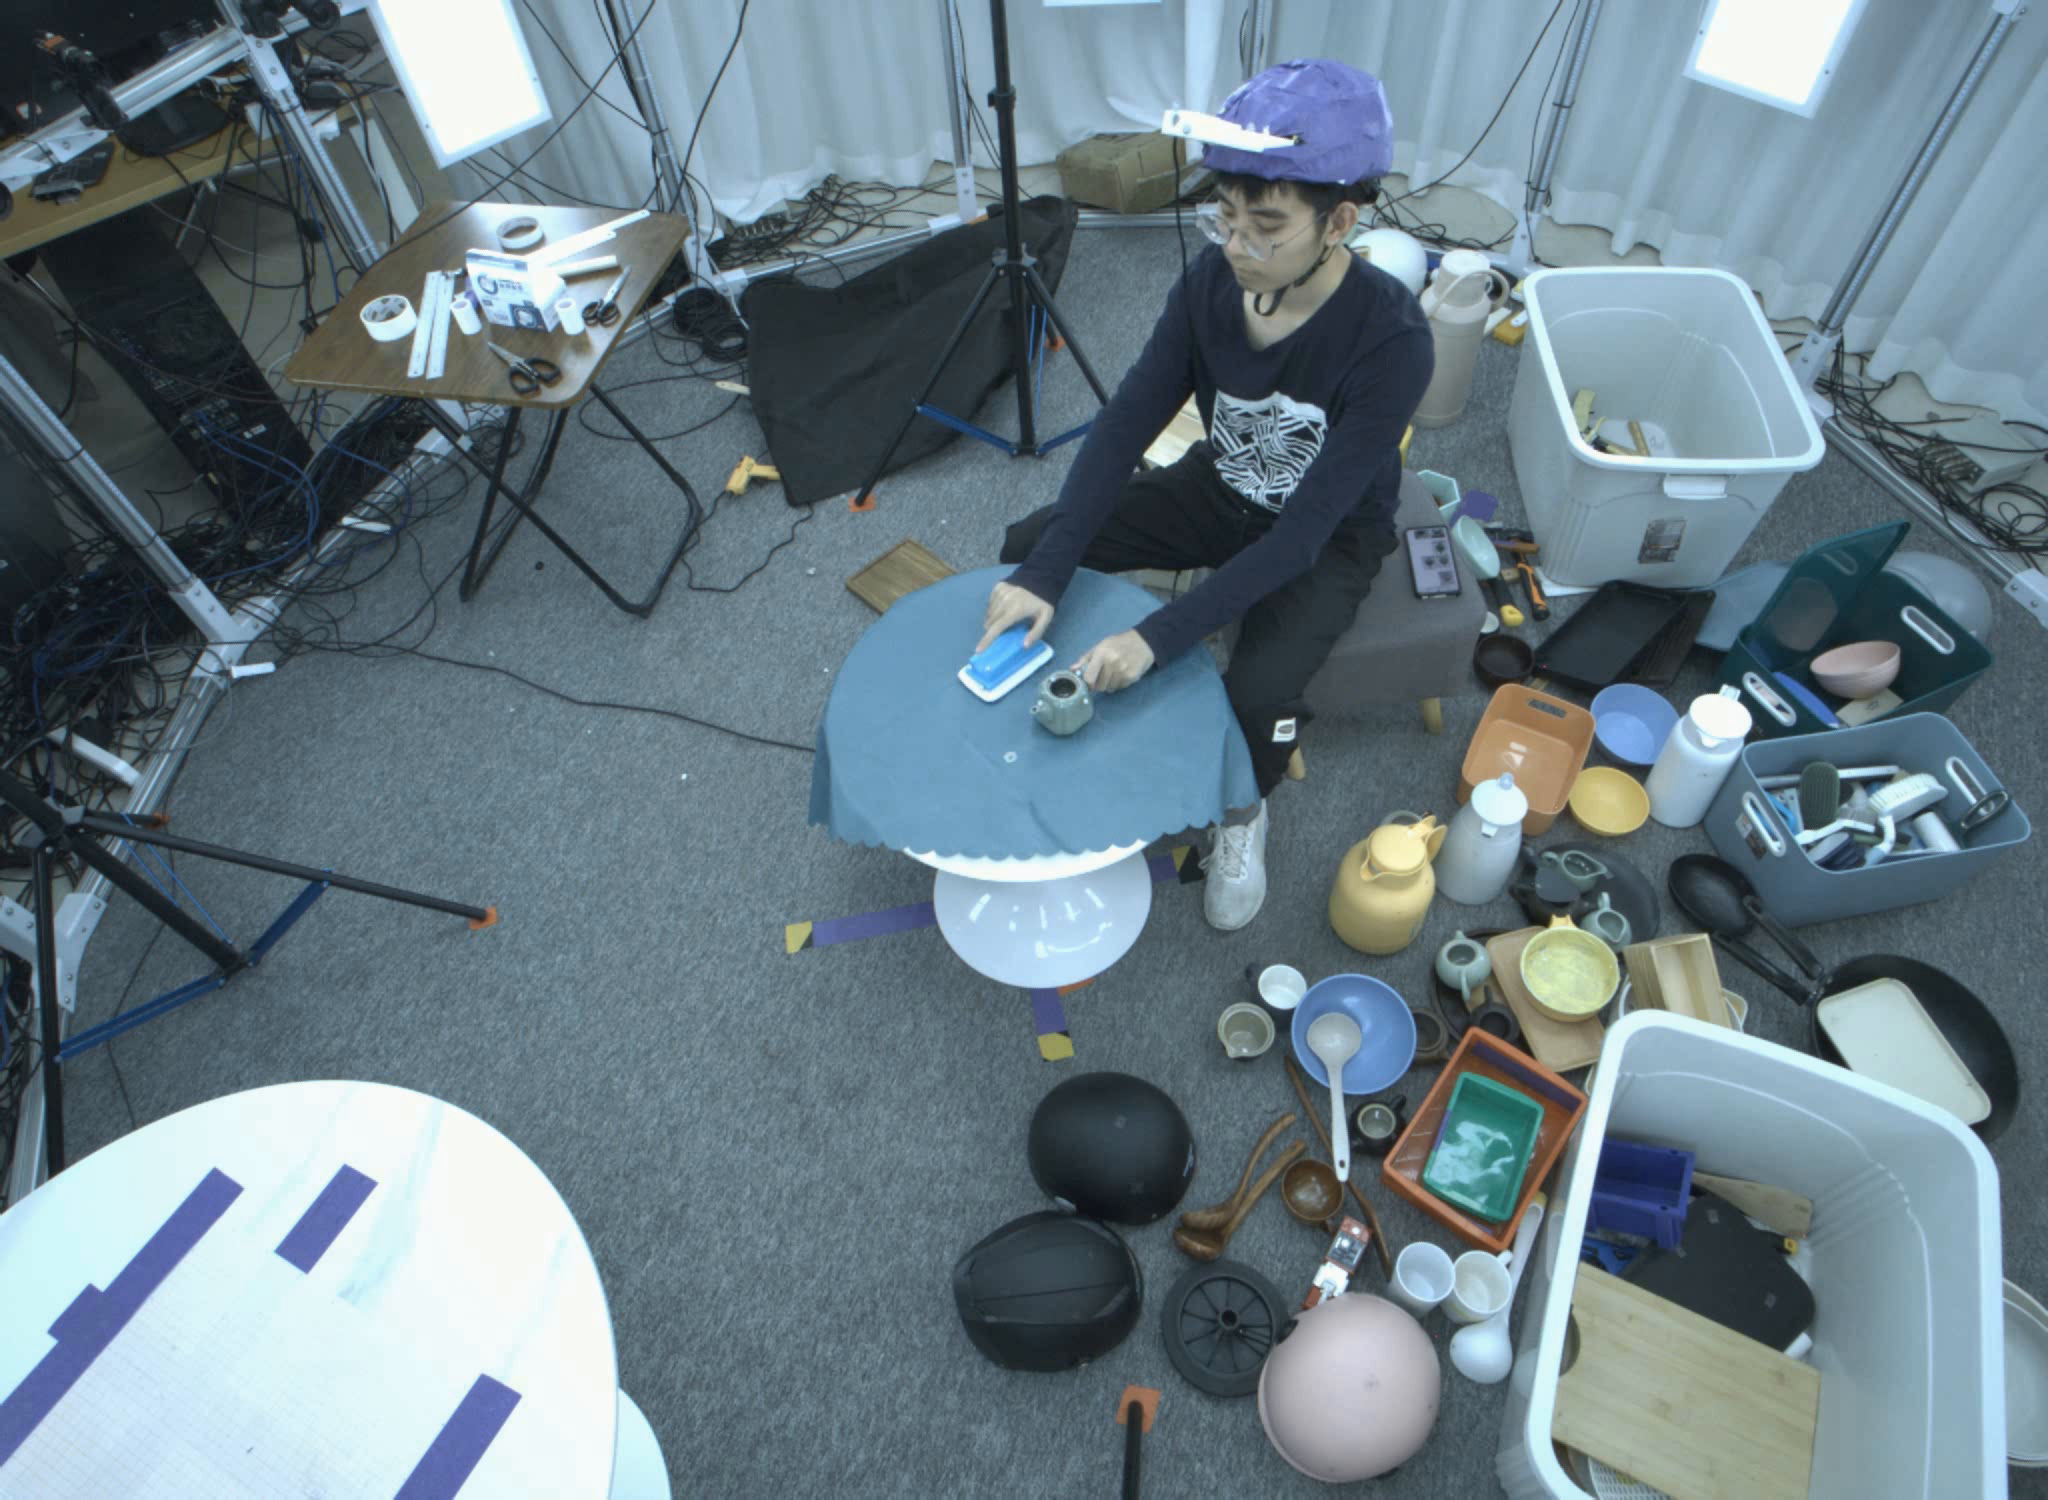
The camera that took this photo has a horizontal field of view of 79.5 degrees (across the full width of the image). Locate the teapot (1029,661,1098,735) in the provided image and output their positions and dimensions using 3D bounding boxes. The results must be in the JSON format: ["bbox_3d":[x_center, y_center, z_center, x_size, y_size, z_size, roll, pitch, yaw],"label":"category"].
[{"bbox_3d":[0.058,-0.072,1.784,0.133,0.076,0.078,-39,61,-24],"label":"teapot"}]

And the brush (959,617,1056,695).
[{"bbox_3d":[-0.025,-0.150,1.850,0.145,0.056,0.082,-38,64,-19],"label":"brush"}]
